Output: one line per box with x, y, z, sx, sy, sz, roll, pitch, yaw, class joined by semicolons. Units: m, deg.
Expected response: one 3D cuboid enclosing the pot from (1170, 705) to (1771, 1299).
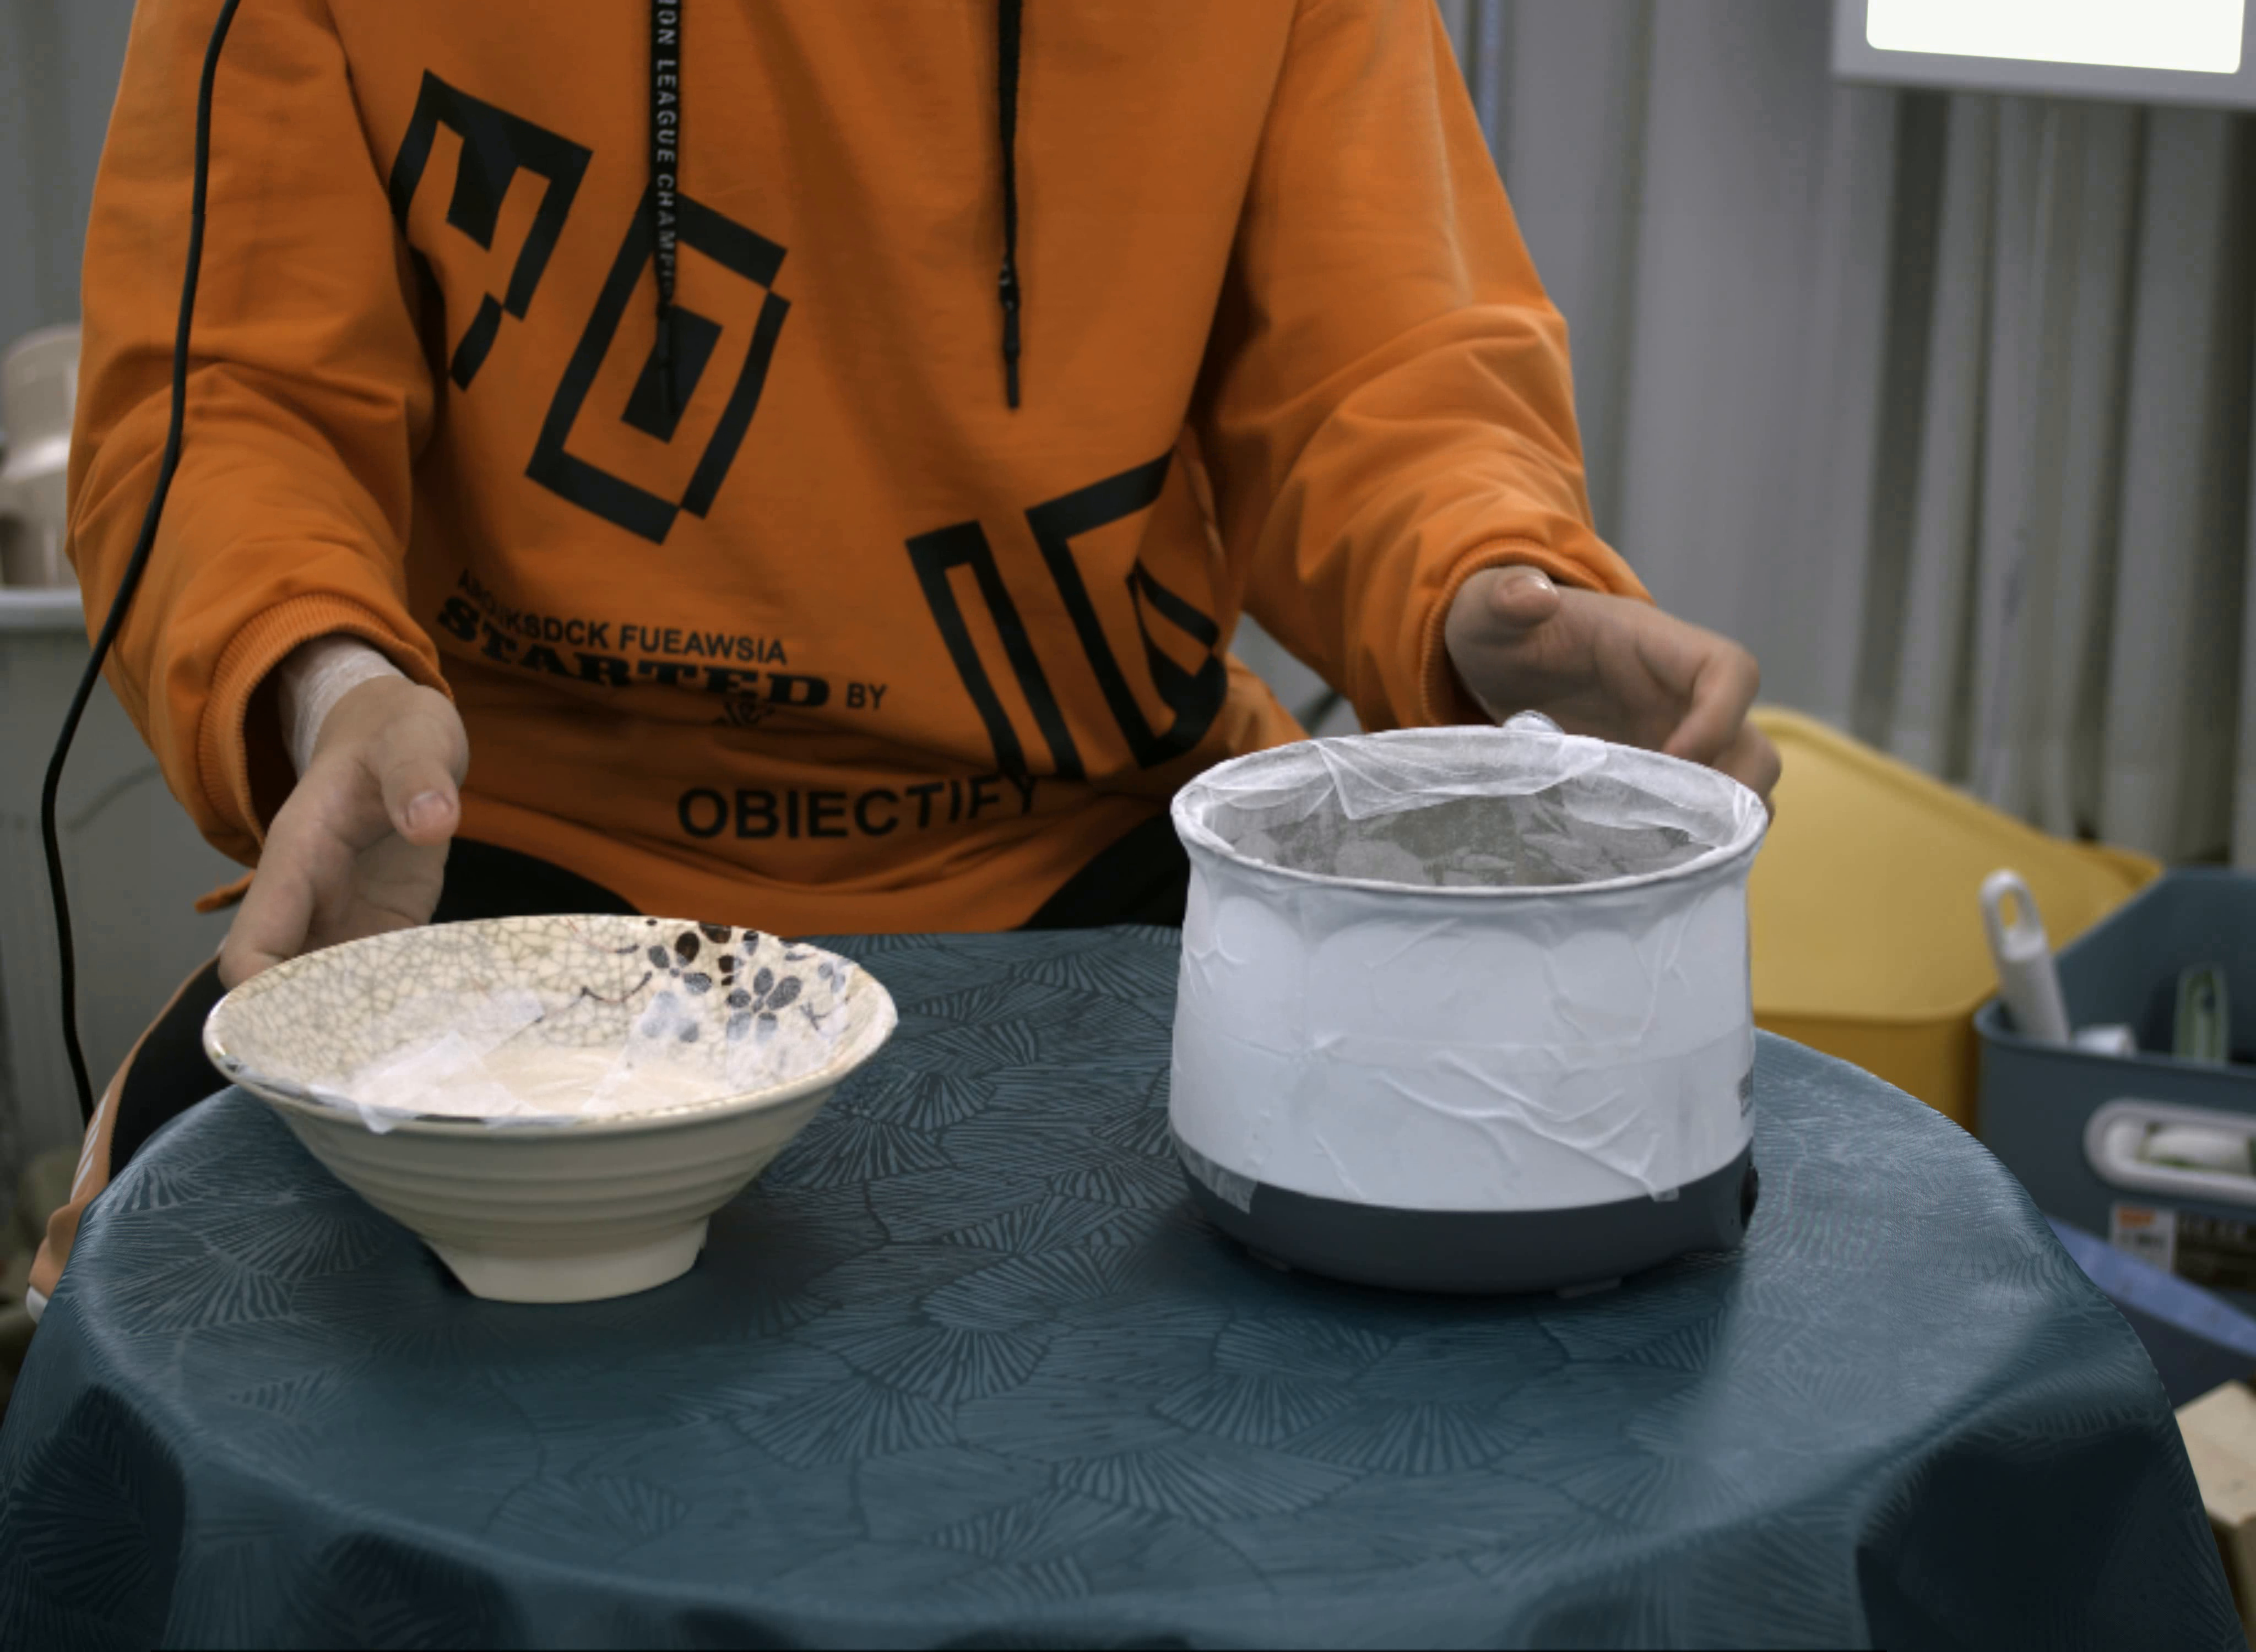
0.107;0.047;1.601;0.177;0.138;0.233;5;17;12;pot

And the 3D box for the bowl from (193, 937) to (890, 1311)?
-0.171;0.093;1.550;0.203;0.078;0.203;0;12;0;bowl
